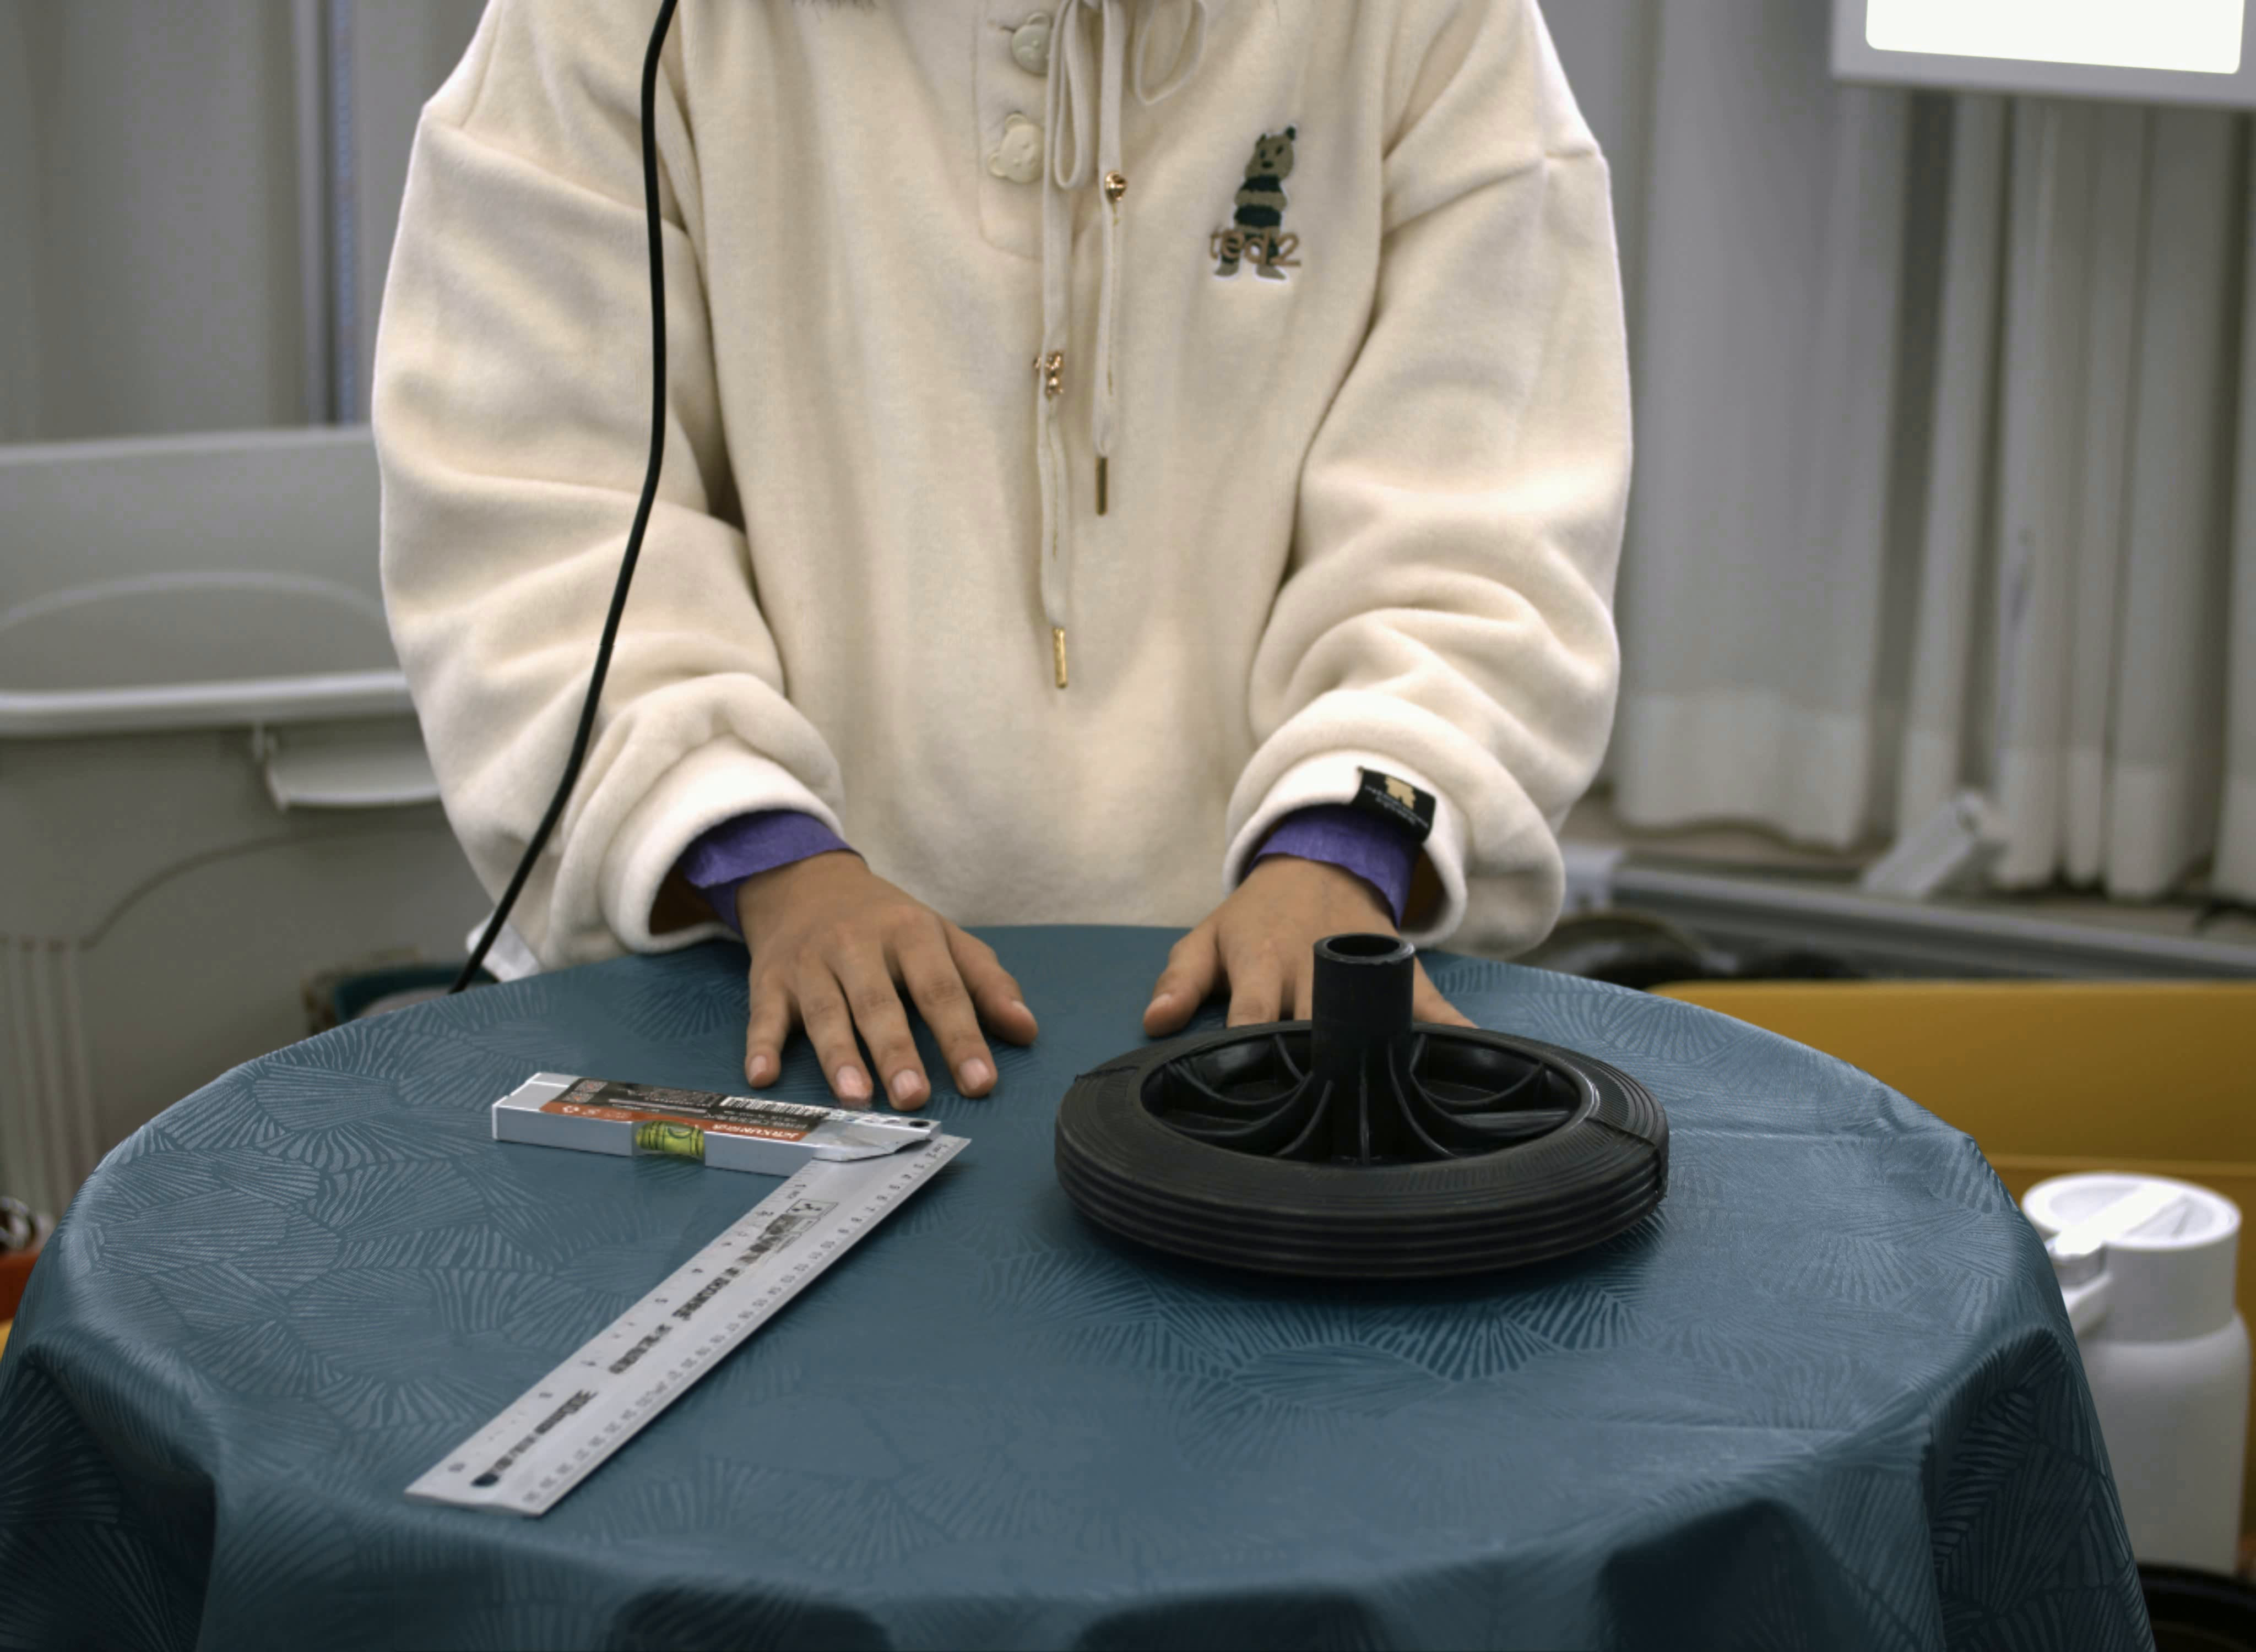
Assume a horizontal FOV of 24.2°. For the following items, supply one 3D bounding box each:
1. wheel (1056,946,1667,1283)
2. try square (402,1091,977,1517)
[{"bbox_3d":[0.072,0.078,1.603,0.191,0.080,0.185,-10,19,-33],"label":"wheel"},{"bbox_3d":[-0.169,0.134,1.531,0.151,0.016,0.313,3,16,20],"label":"try square"}]
